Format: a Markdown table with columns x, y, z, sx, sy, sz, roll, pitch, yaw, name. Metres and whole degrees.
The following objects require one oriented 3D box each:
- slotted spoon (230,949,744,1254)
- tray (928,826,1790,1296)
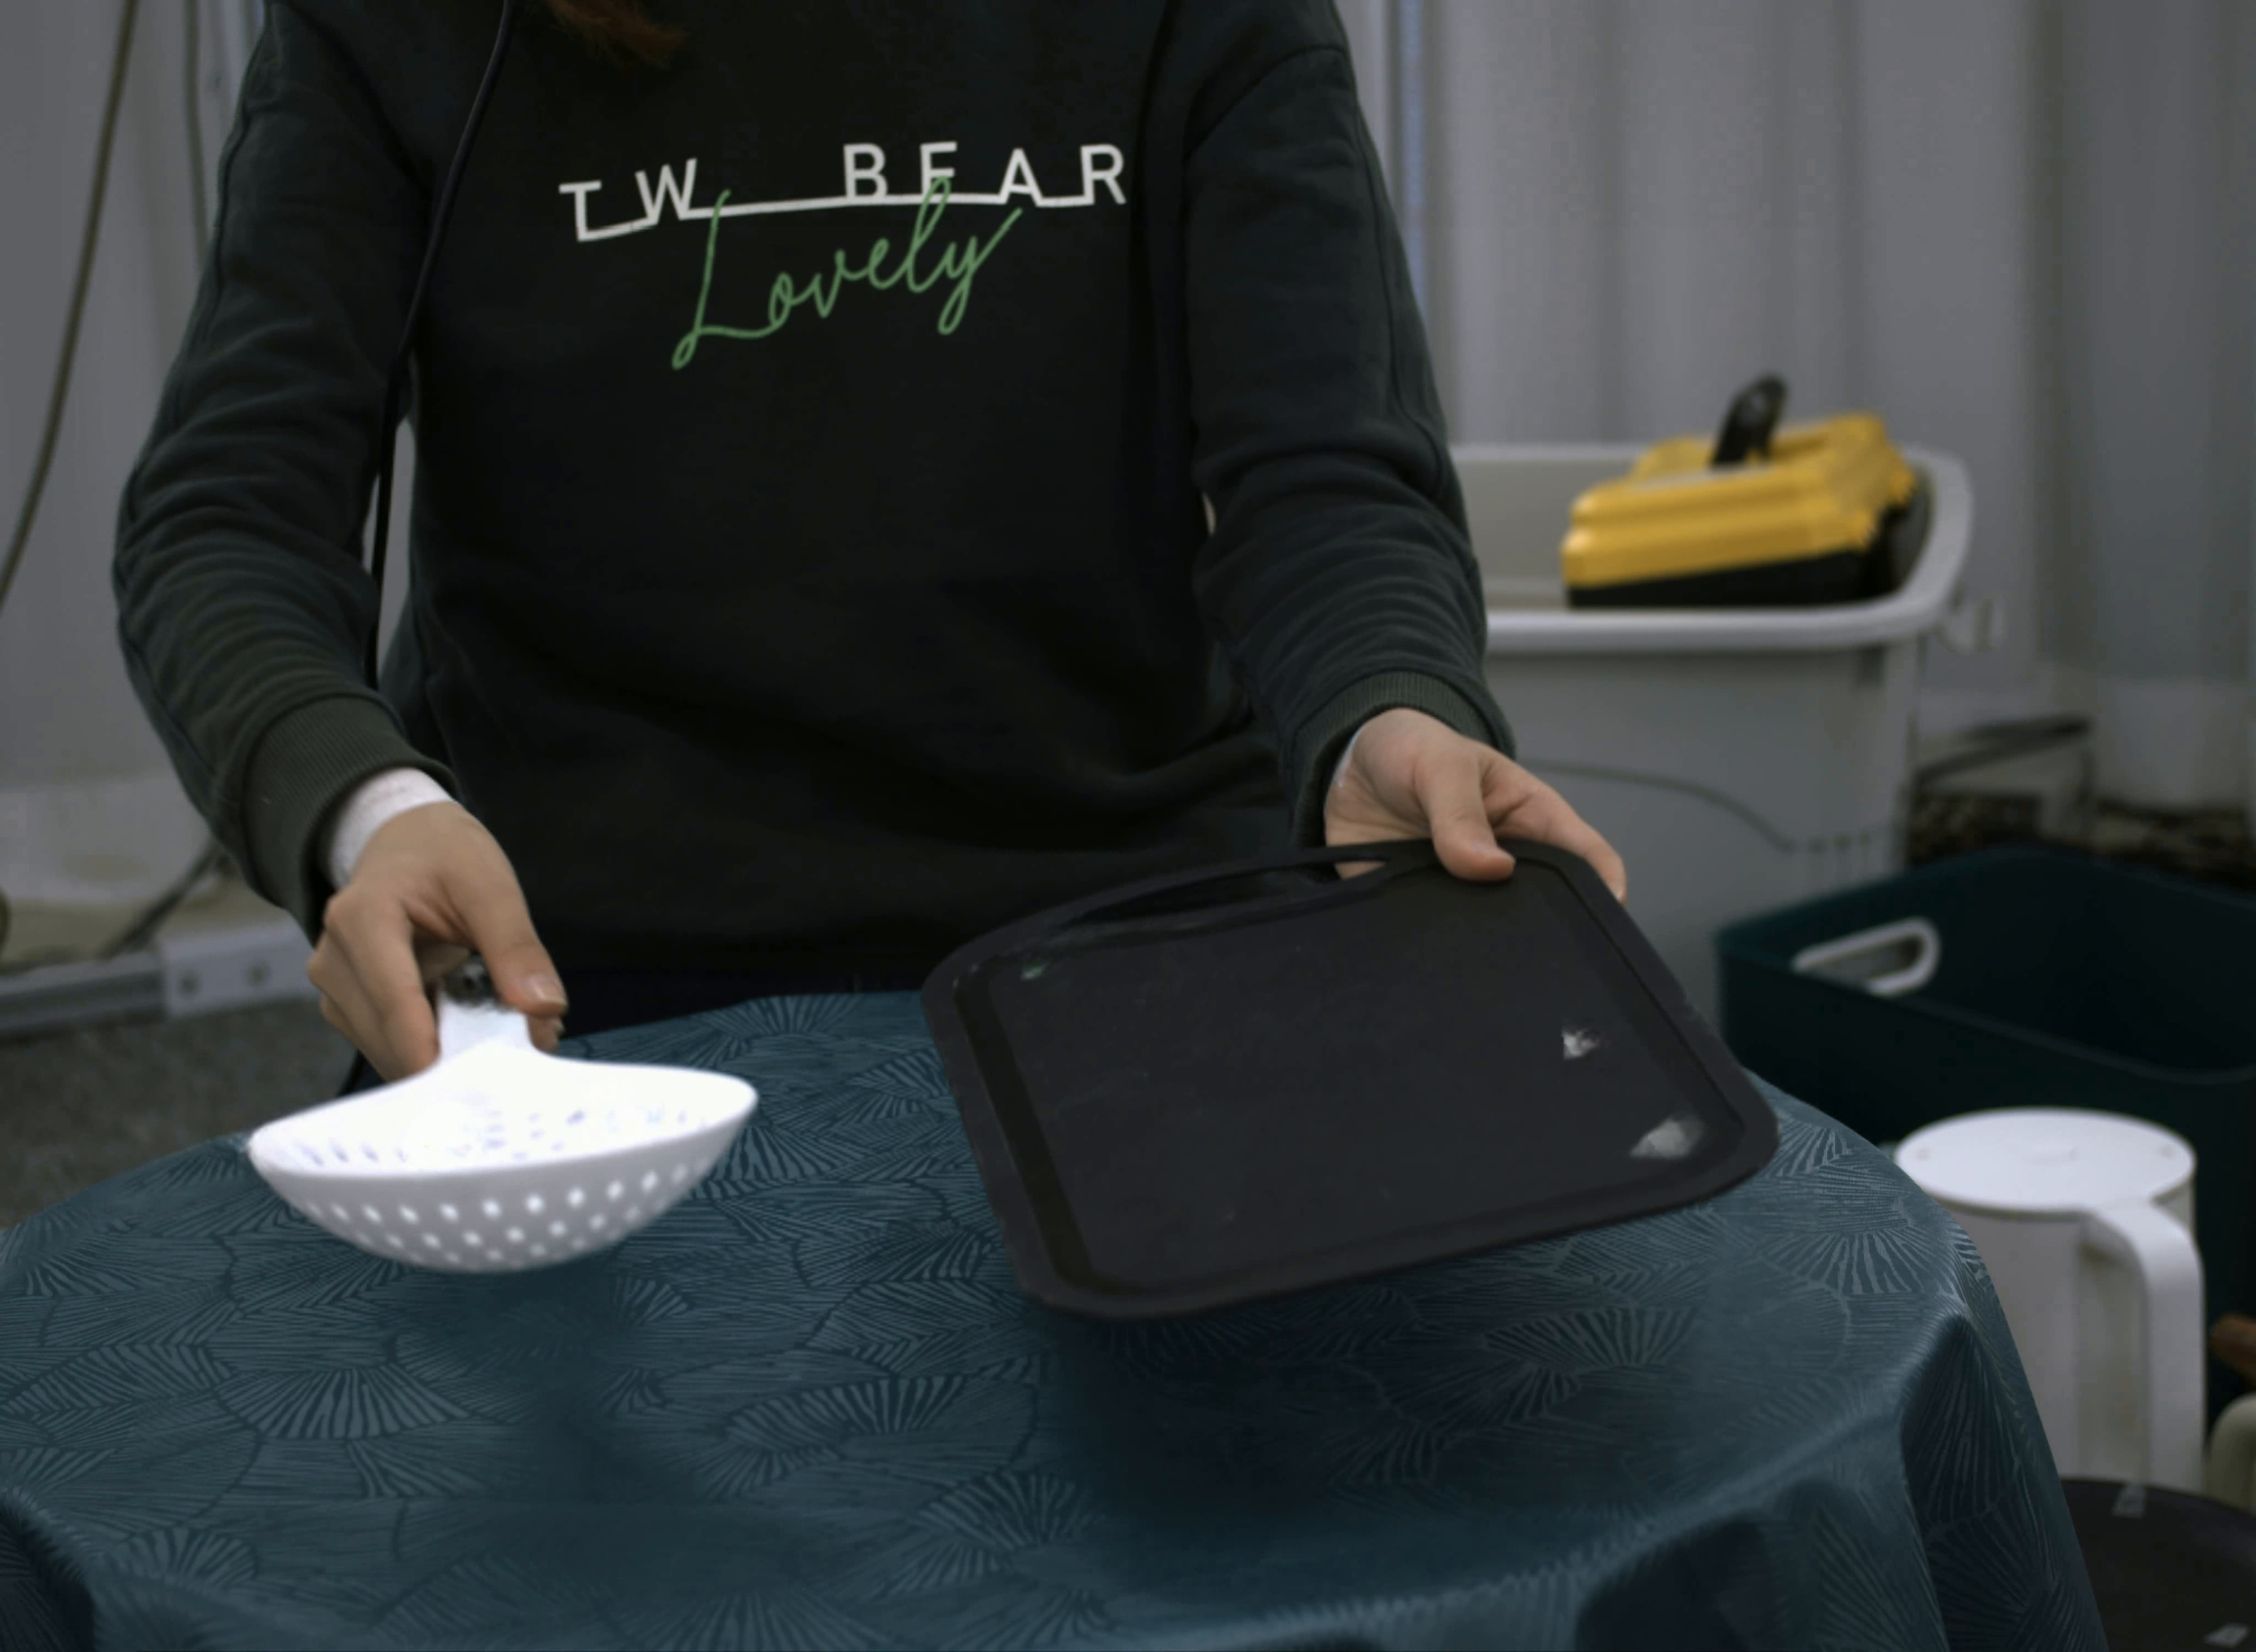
| x | y | z | sx | sy | sz | roll | pitch | yaw | name |
| --- | --- | --- | --- | --- | --- | --- | --- | --- | --- |
| -0.184 | 0.068 | 1.557 | 0.135 | 0.045 | 0.352 | -5 | 12 | -7 | slotted spoon |
| 0.056 | 0.058 | 1.566 | 0.210 | 0.010 | 0.328 | -11 | 19 | -5 | tray |
